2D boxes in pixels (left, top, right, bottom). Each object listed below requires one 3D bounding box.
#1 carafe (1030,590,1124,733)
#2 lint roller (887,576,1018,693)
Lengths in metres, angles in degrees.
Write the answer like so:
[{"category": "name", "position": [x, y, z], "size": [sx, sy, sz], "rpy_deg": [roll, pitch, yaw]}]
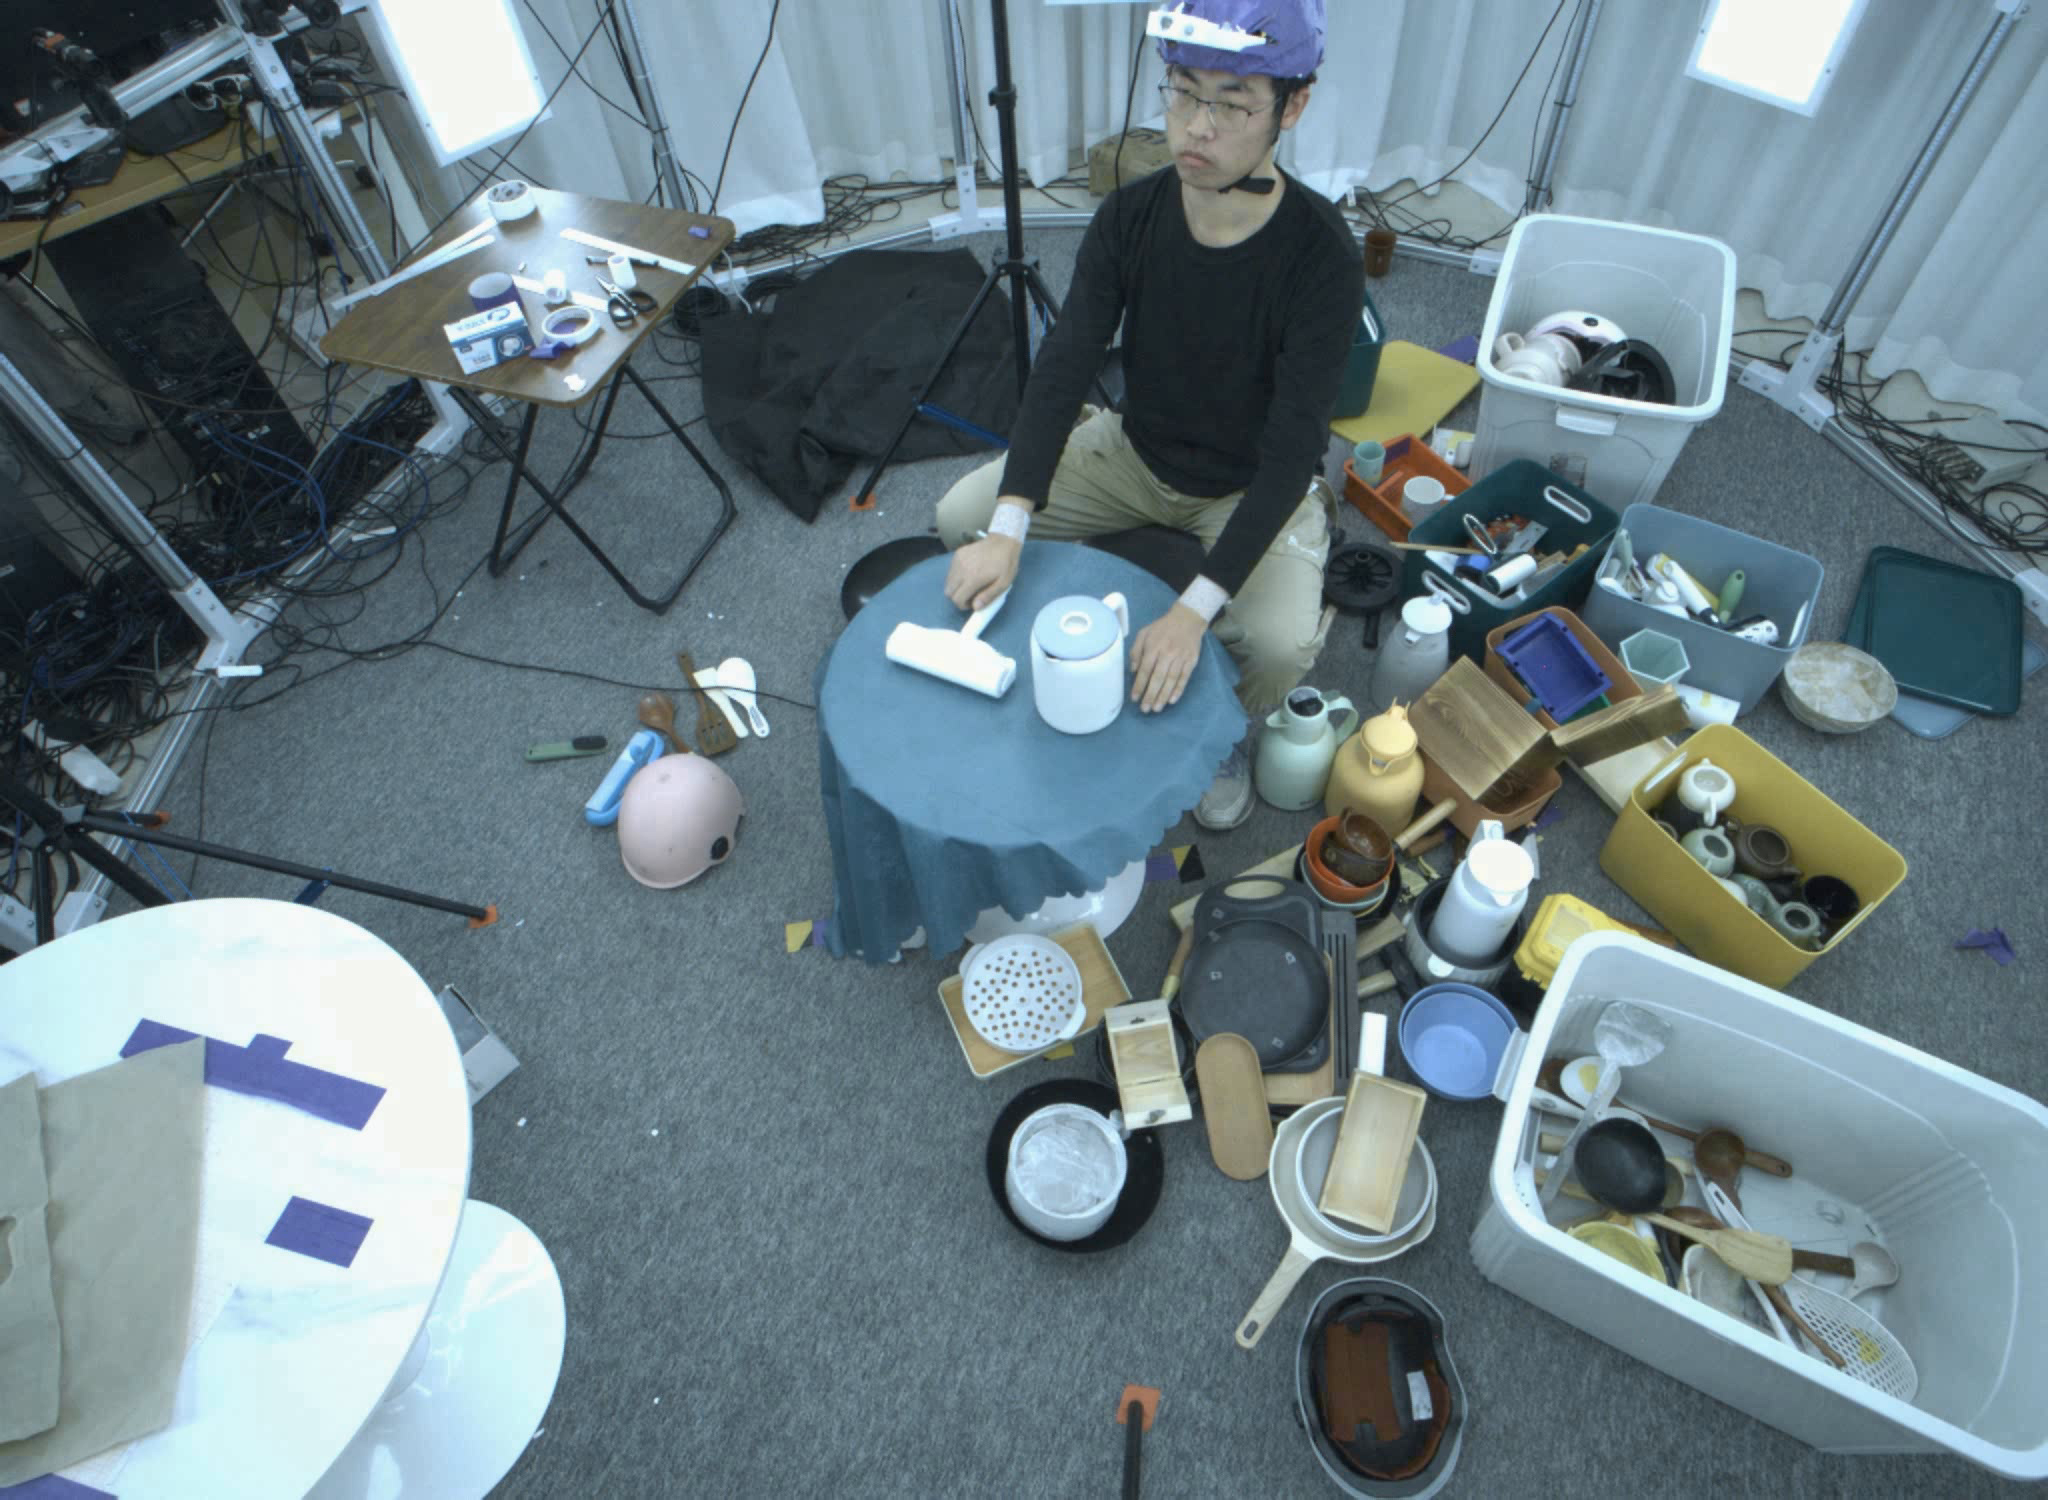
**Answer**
[{"category": "carafe", "position": [0.090, -0.139, 1.777], "size": [0.130, 0.184, 0.192], "rpy_deg": [29, 59, 21]}, {"category": "lint roller", "position": [-0.076, -0.199, 1.904], "size": [0.200, 0.049, 0.226], "rpy_deg": [19, 57, 17]}]
